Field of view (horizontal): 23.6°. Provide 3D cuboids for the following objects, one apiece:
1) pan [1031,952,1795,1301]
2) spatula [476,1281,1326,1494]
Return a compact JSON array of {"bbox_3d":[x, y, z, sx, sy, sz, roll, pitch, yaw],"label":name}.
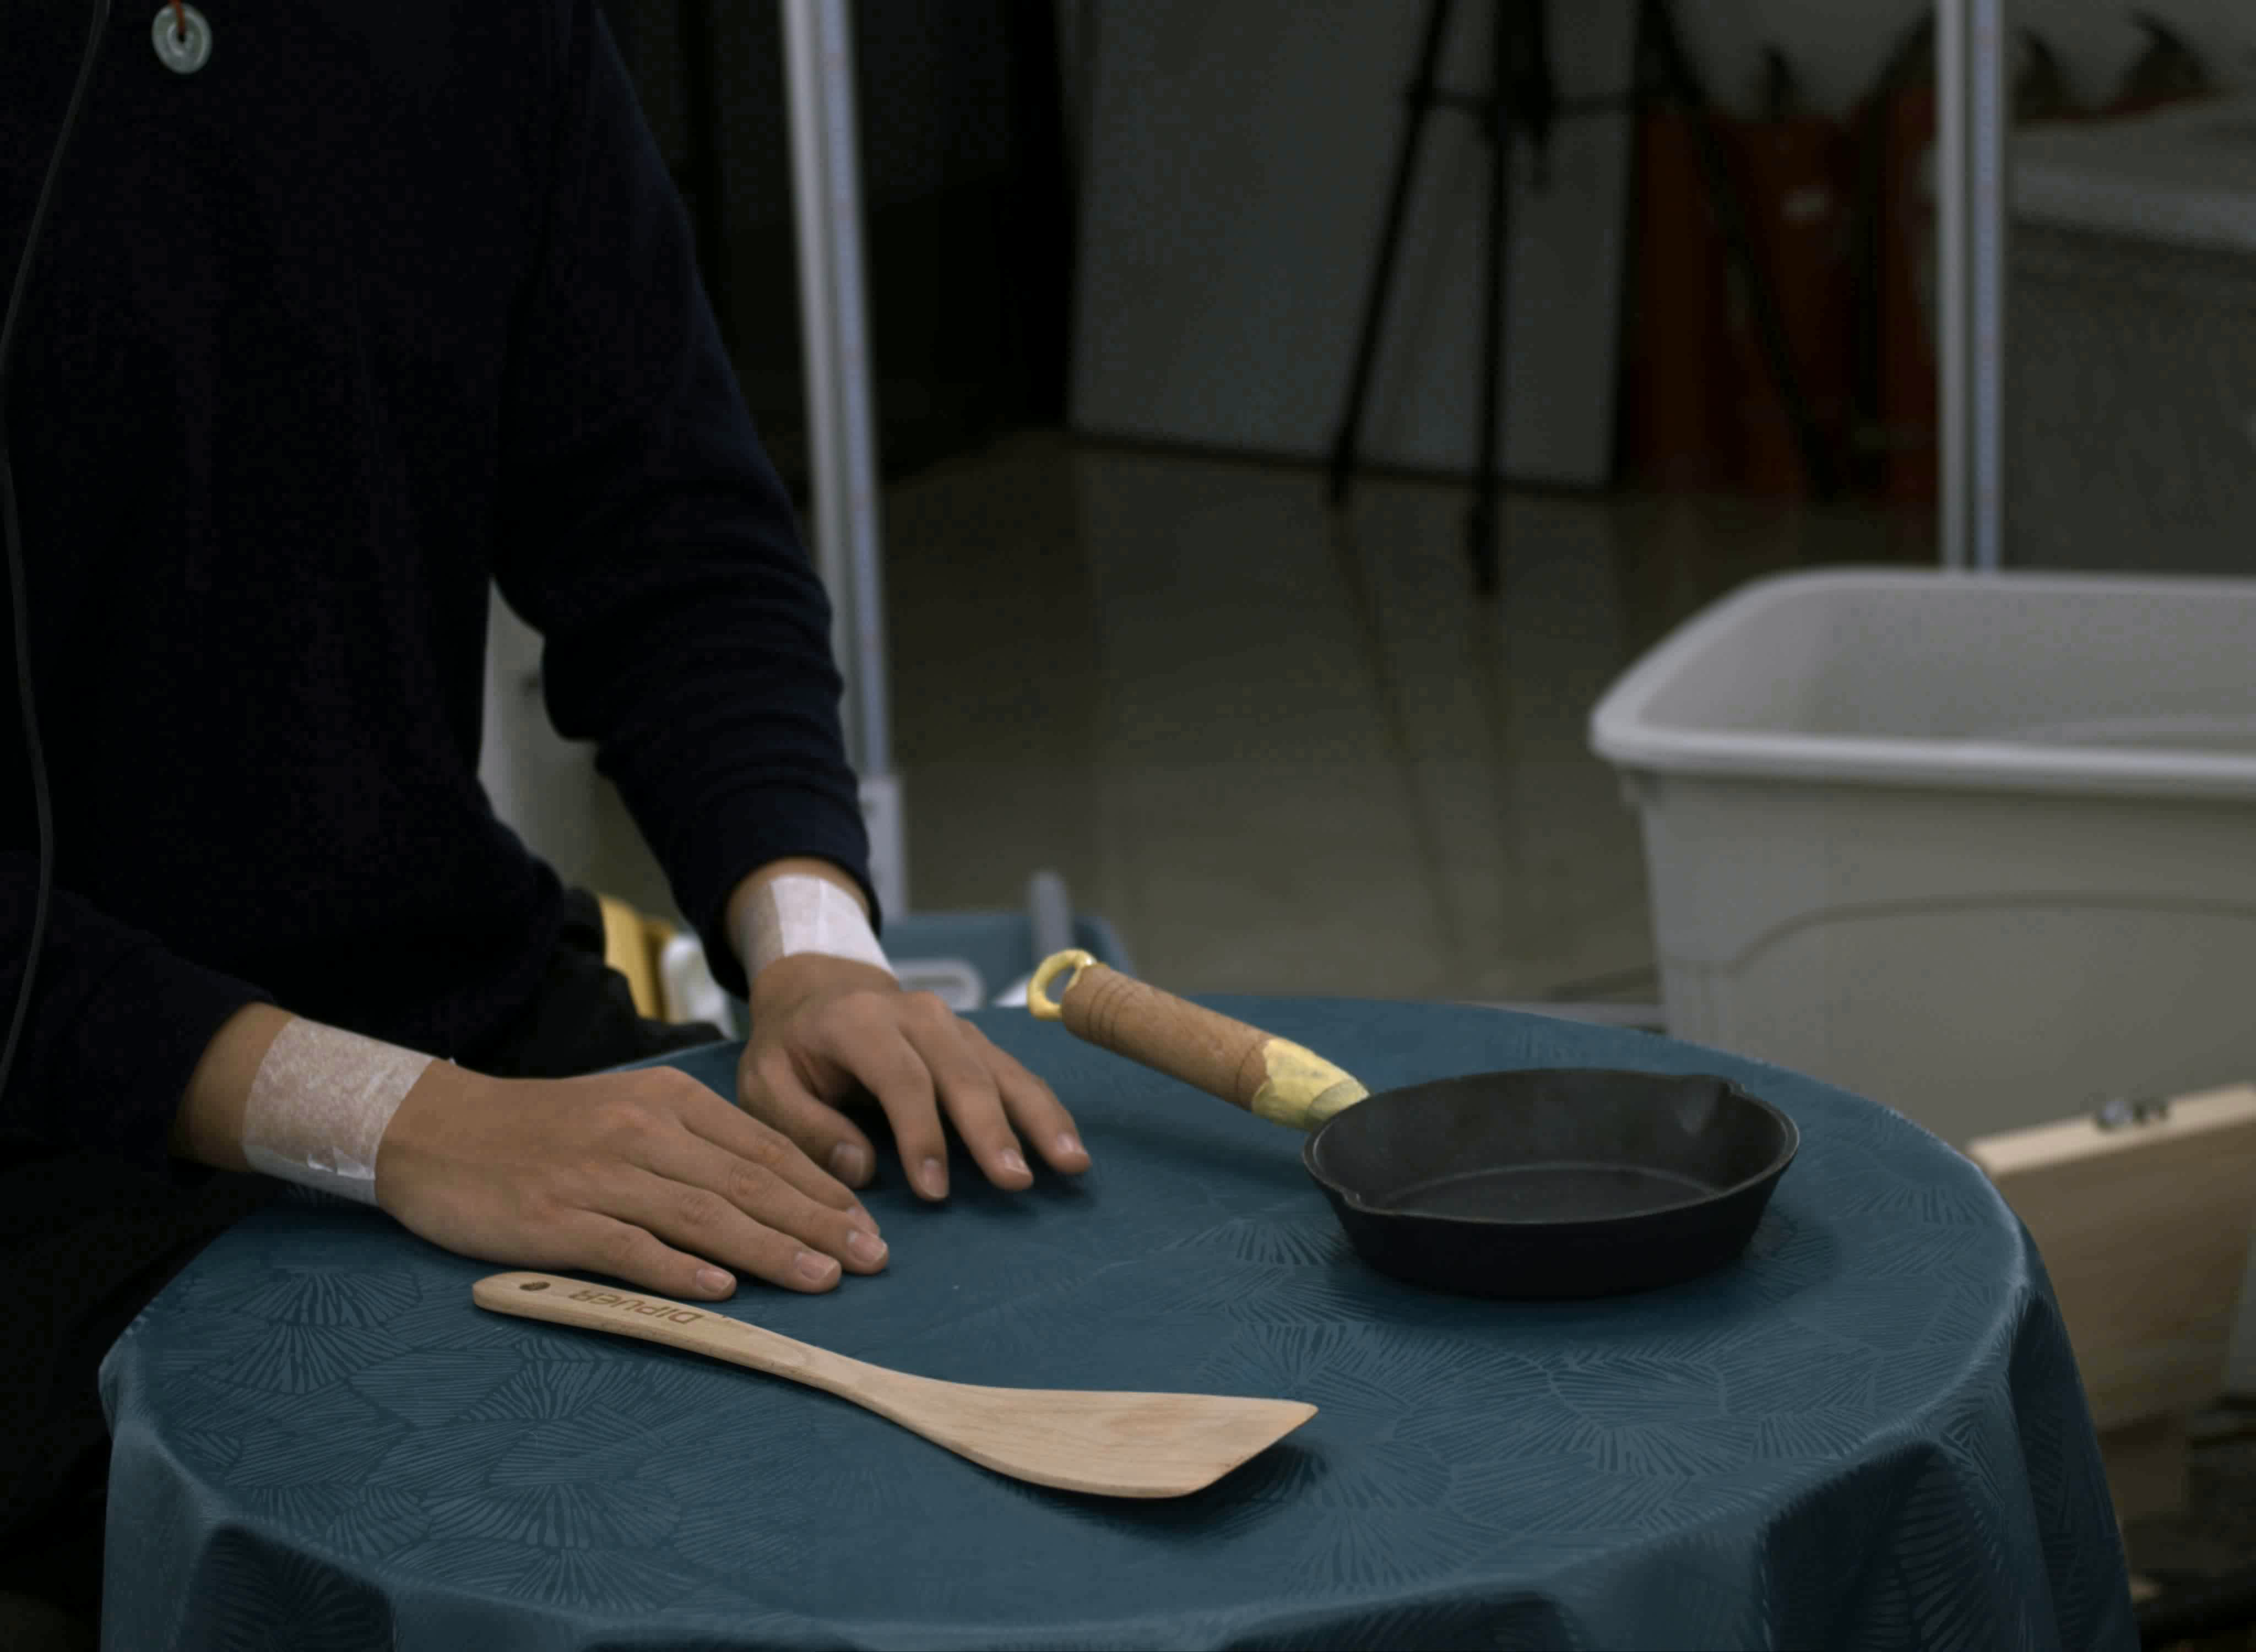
[{"bbox_3d":[0.078,0.093,1.755,0.165,0.050,0.327,-15,19,-37],"label":"pan"},{"bbox_3d":[-0.078,0.161,1.599,0.330,0.017,0.078,8,18,41],"label":"spatula"}]
